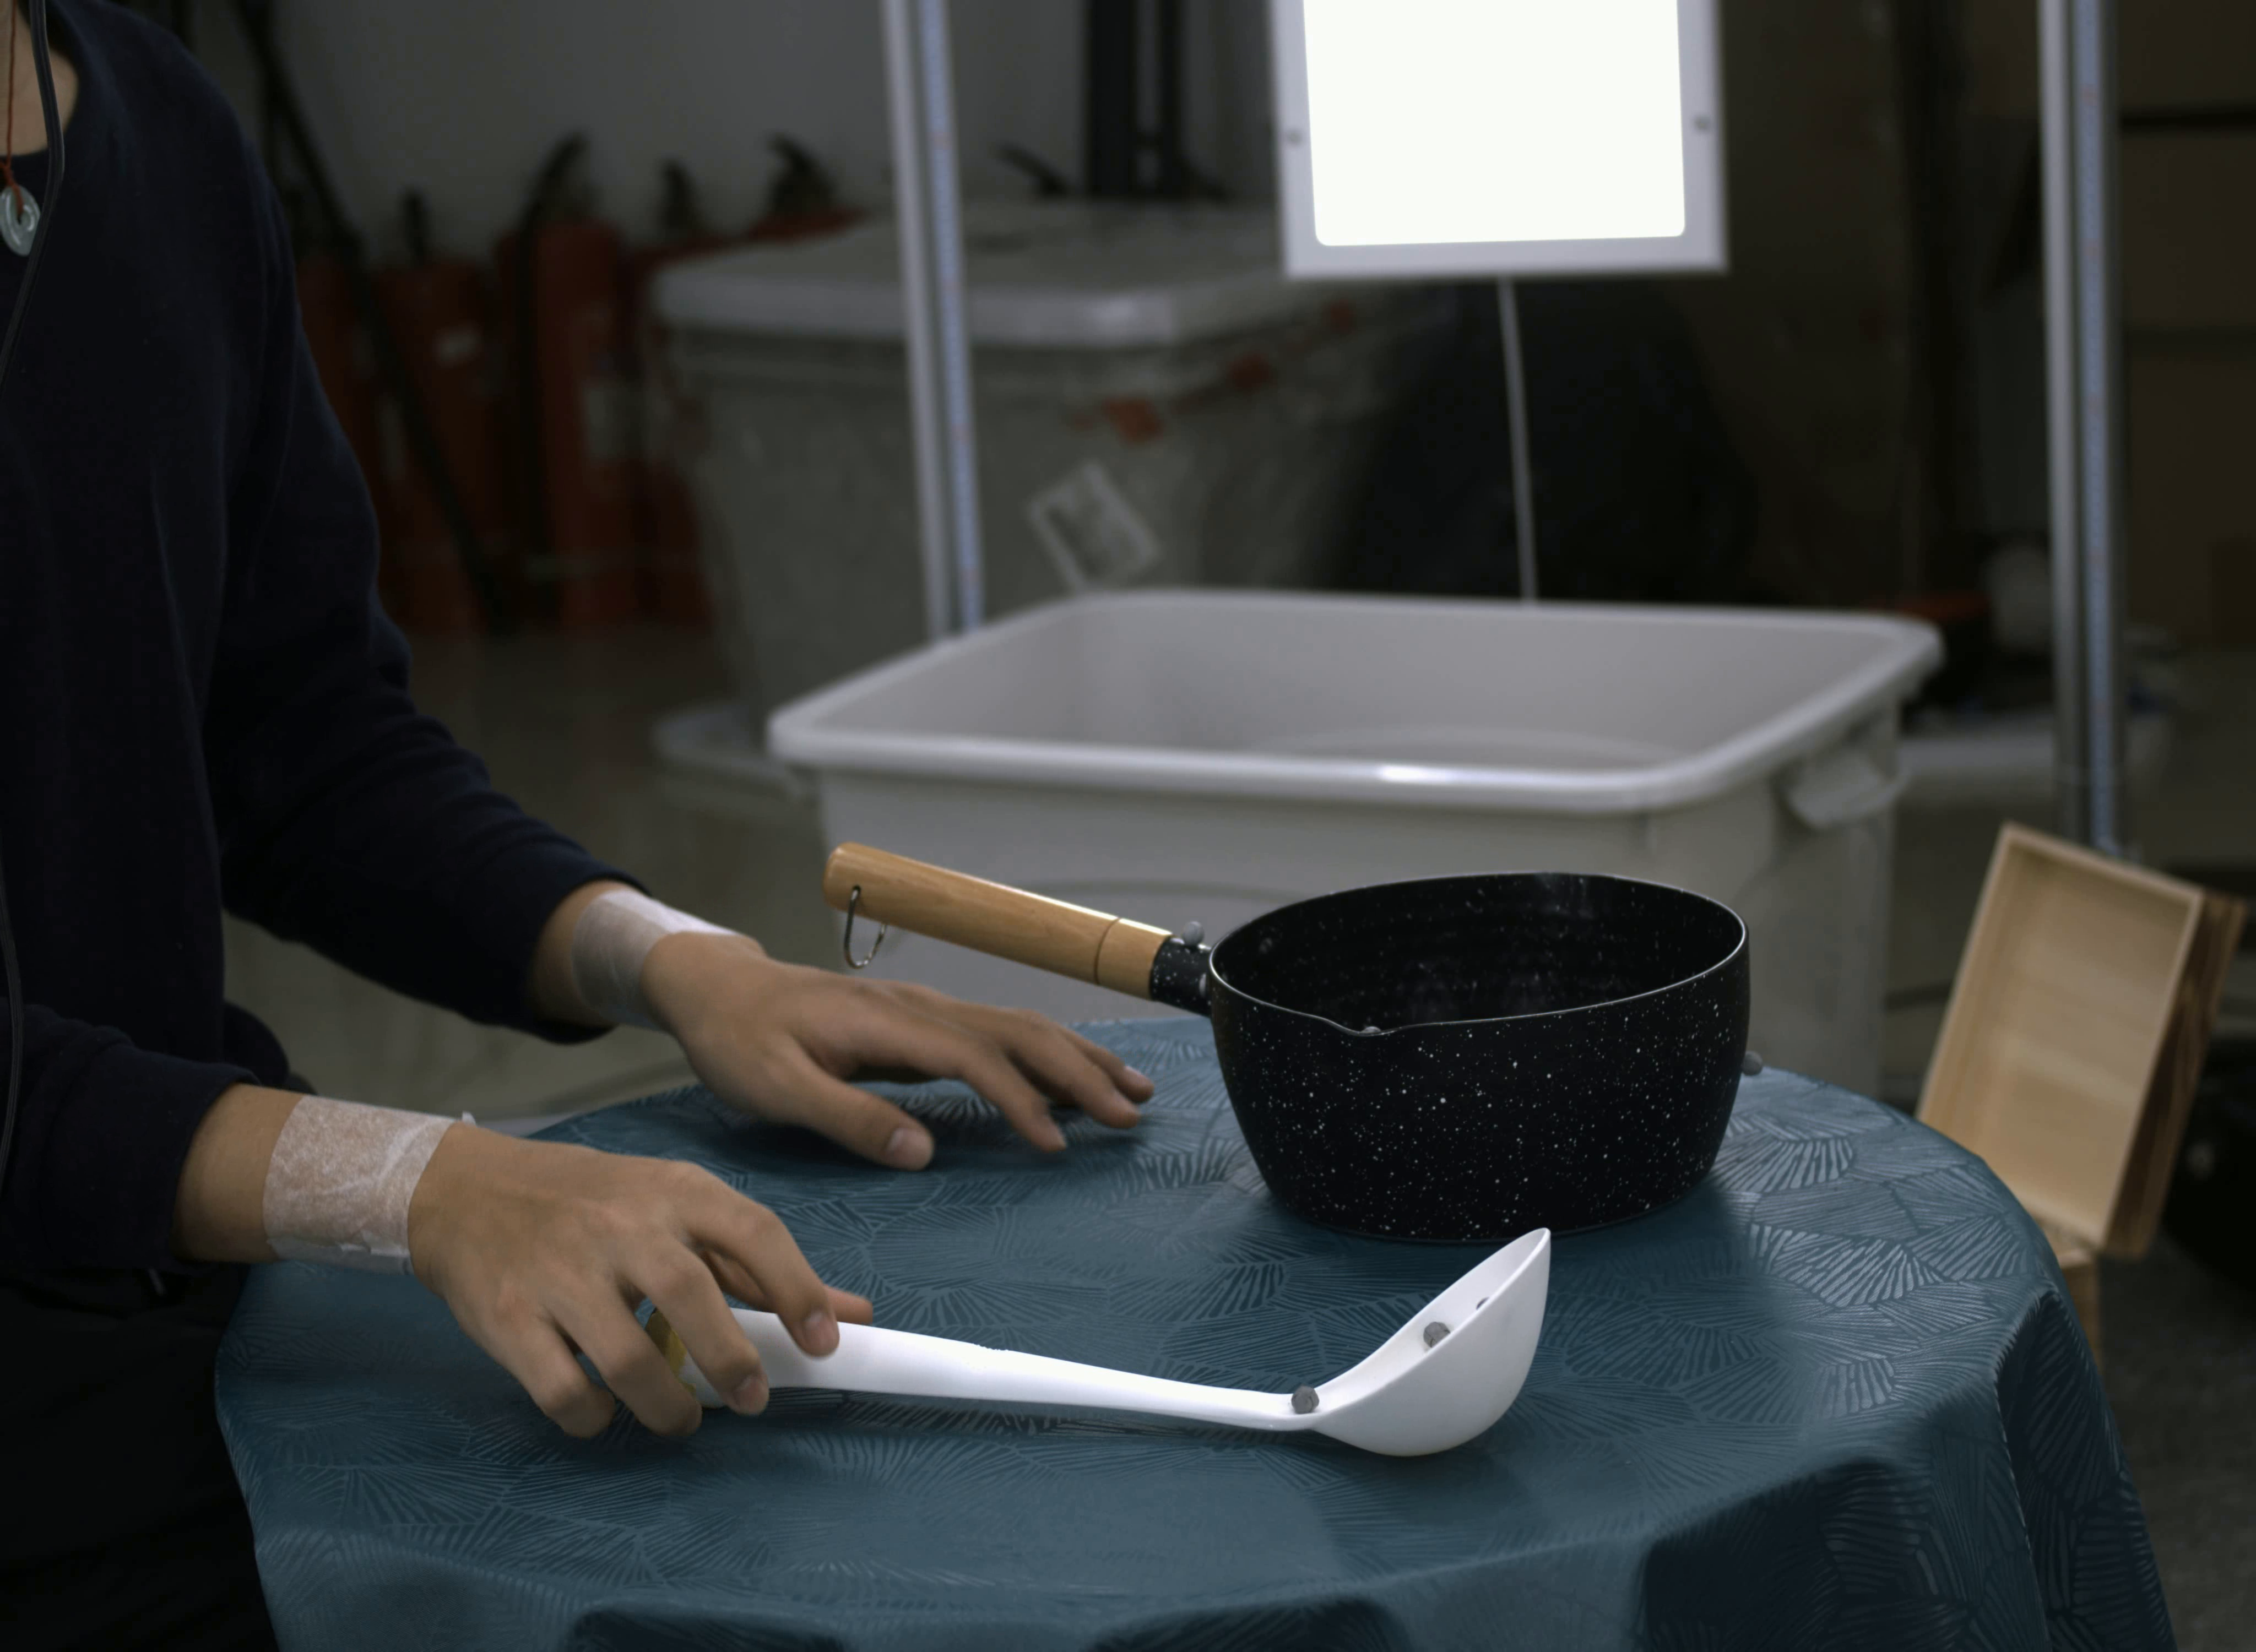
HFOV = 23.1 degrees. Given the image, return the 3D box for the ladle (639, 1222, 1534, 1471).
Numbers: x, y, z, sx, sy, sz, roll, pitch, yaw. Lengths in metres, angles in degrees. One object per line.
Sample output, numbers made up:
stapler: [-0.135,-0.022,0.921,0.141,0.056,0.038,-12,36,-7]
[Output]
ladle: [-0.016,0.155,1.657,0.297,0.070,0.088,1,27,25]

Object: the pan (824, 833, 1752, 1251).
pan: [0.049,0.065,1.900,0.348,0.108,0.203,3,17,26]
